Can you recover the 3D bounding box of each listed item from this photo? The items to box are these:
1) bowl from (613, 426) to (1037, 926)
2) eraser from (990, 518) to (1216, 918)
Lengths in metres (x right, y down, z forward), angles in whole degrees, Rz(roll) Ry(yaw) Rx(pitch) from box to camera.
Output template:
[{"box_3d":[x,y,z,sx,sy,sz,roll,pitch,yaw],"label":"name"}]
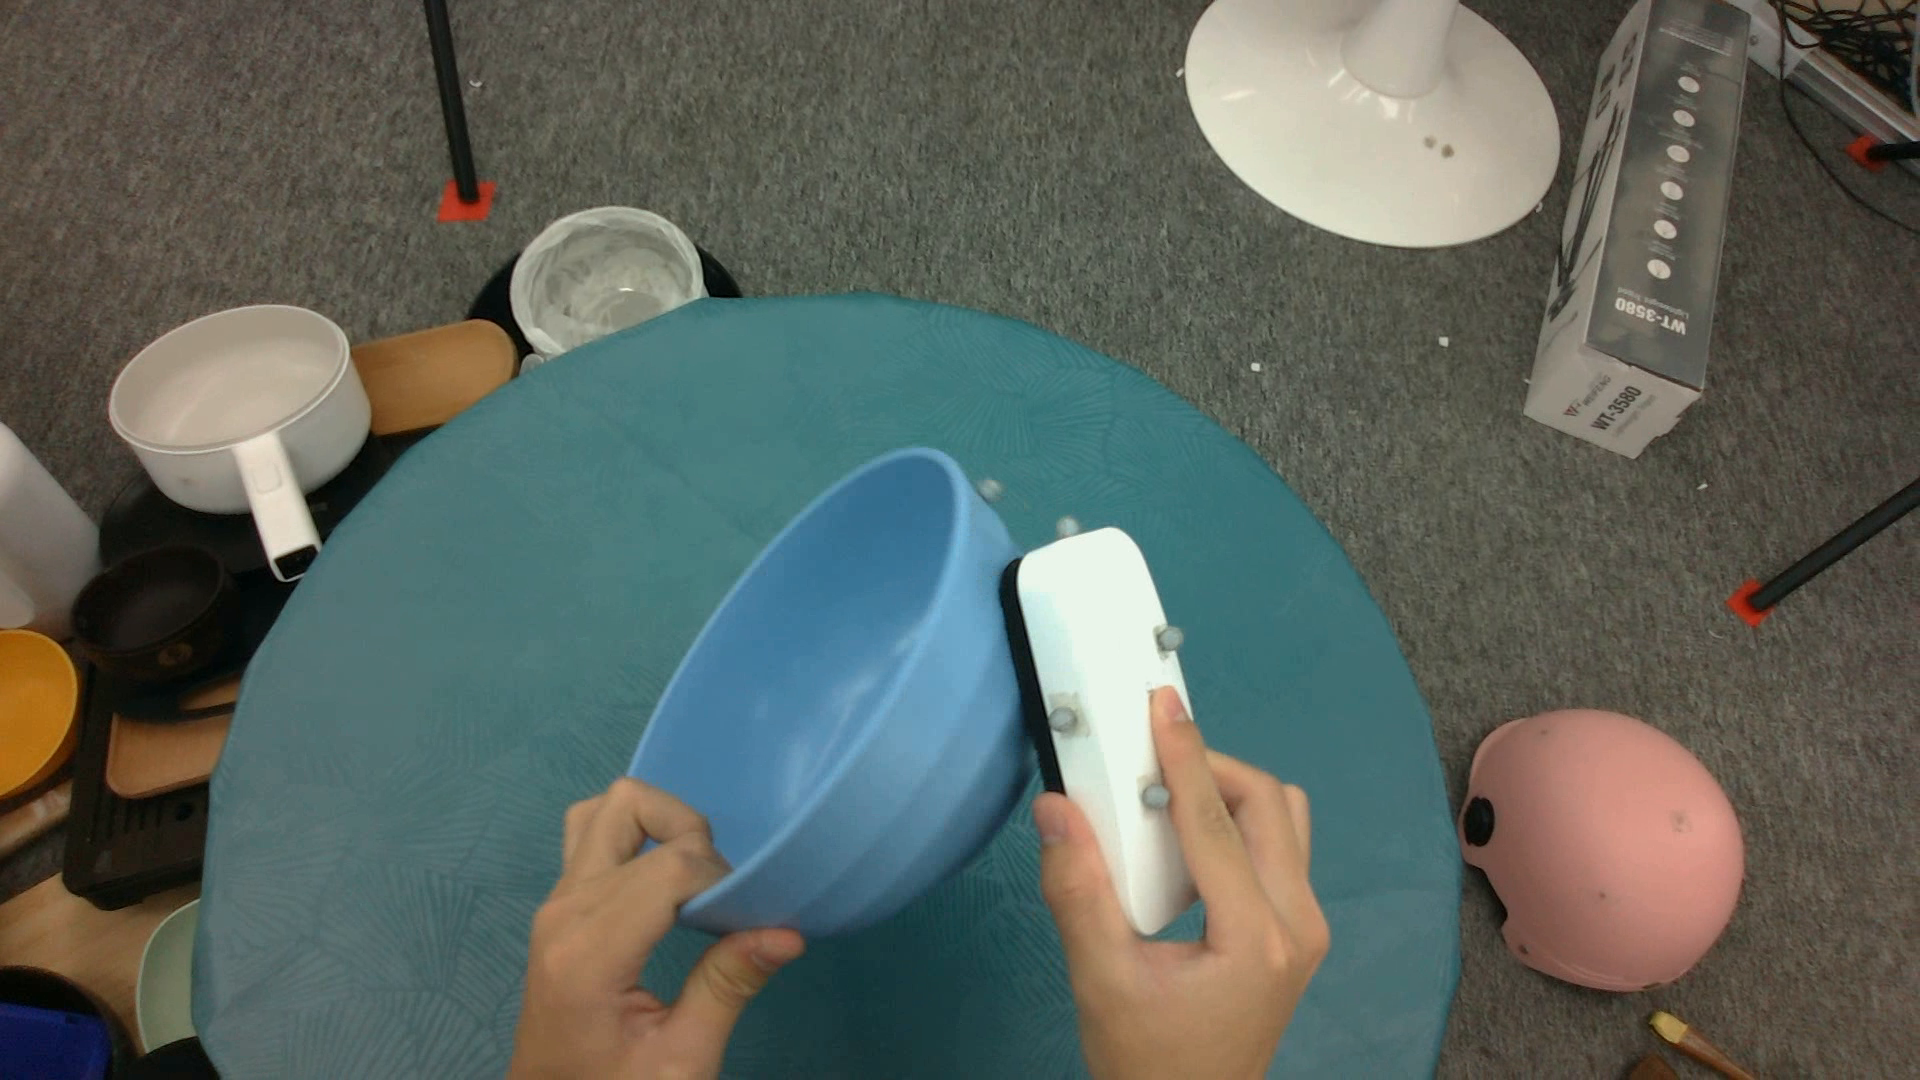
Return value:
[{"box_3d":[-0.035,0.063,0.522,0.095,0.195,0.197,36,57,-25],"label":"bowl"},{"box_3d":[0.051,0.059,0.468,0.063,0.034,0.131,-13,87,-53],"label":"eraser"}]
